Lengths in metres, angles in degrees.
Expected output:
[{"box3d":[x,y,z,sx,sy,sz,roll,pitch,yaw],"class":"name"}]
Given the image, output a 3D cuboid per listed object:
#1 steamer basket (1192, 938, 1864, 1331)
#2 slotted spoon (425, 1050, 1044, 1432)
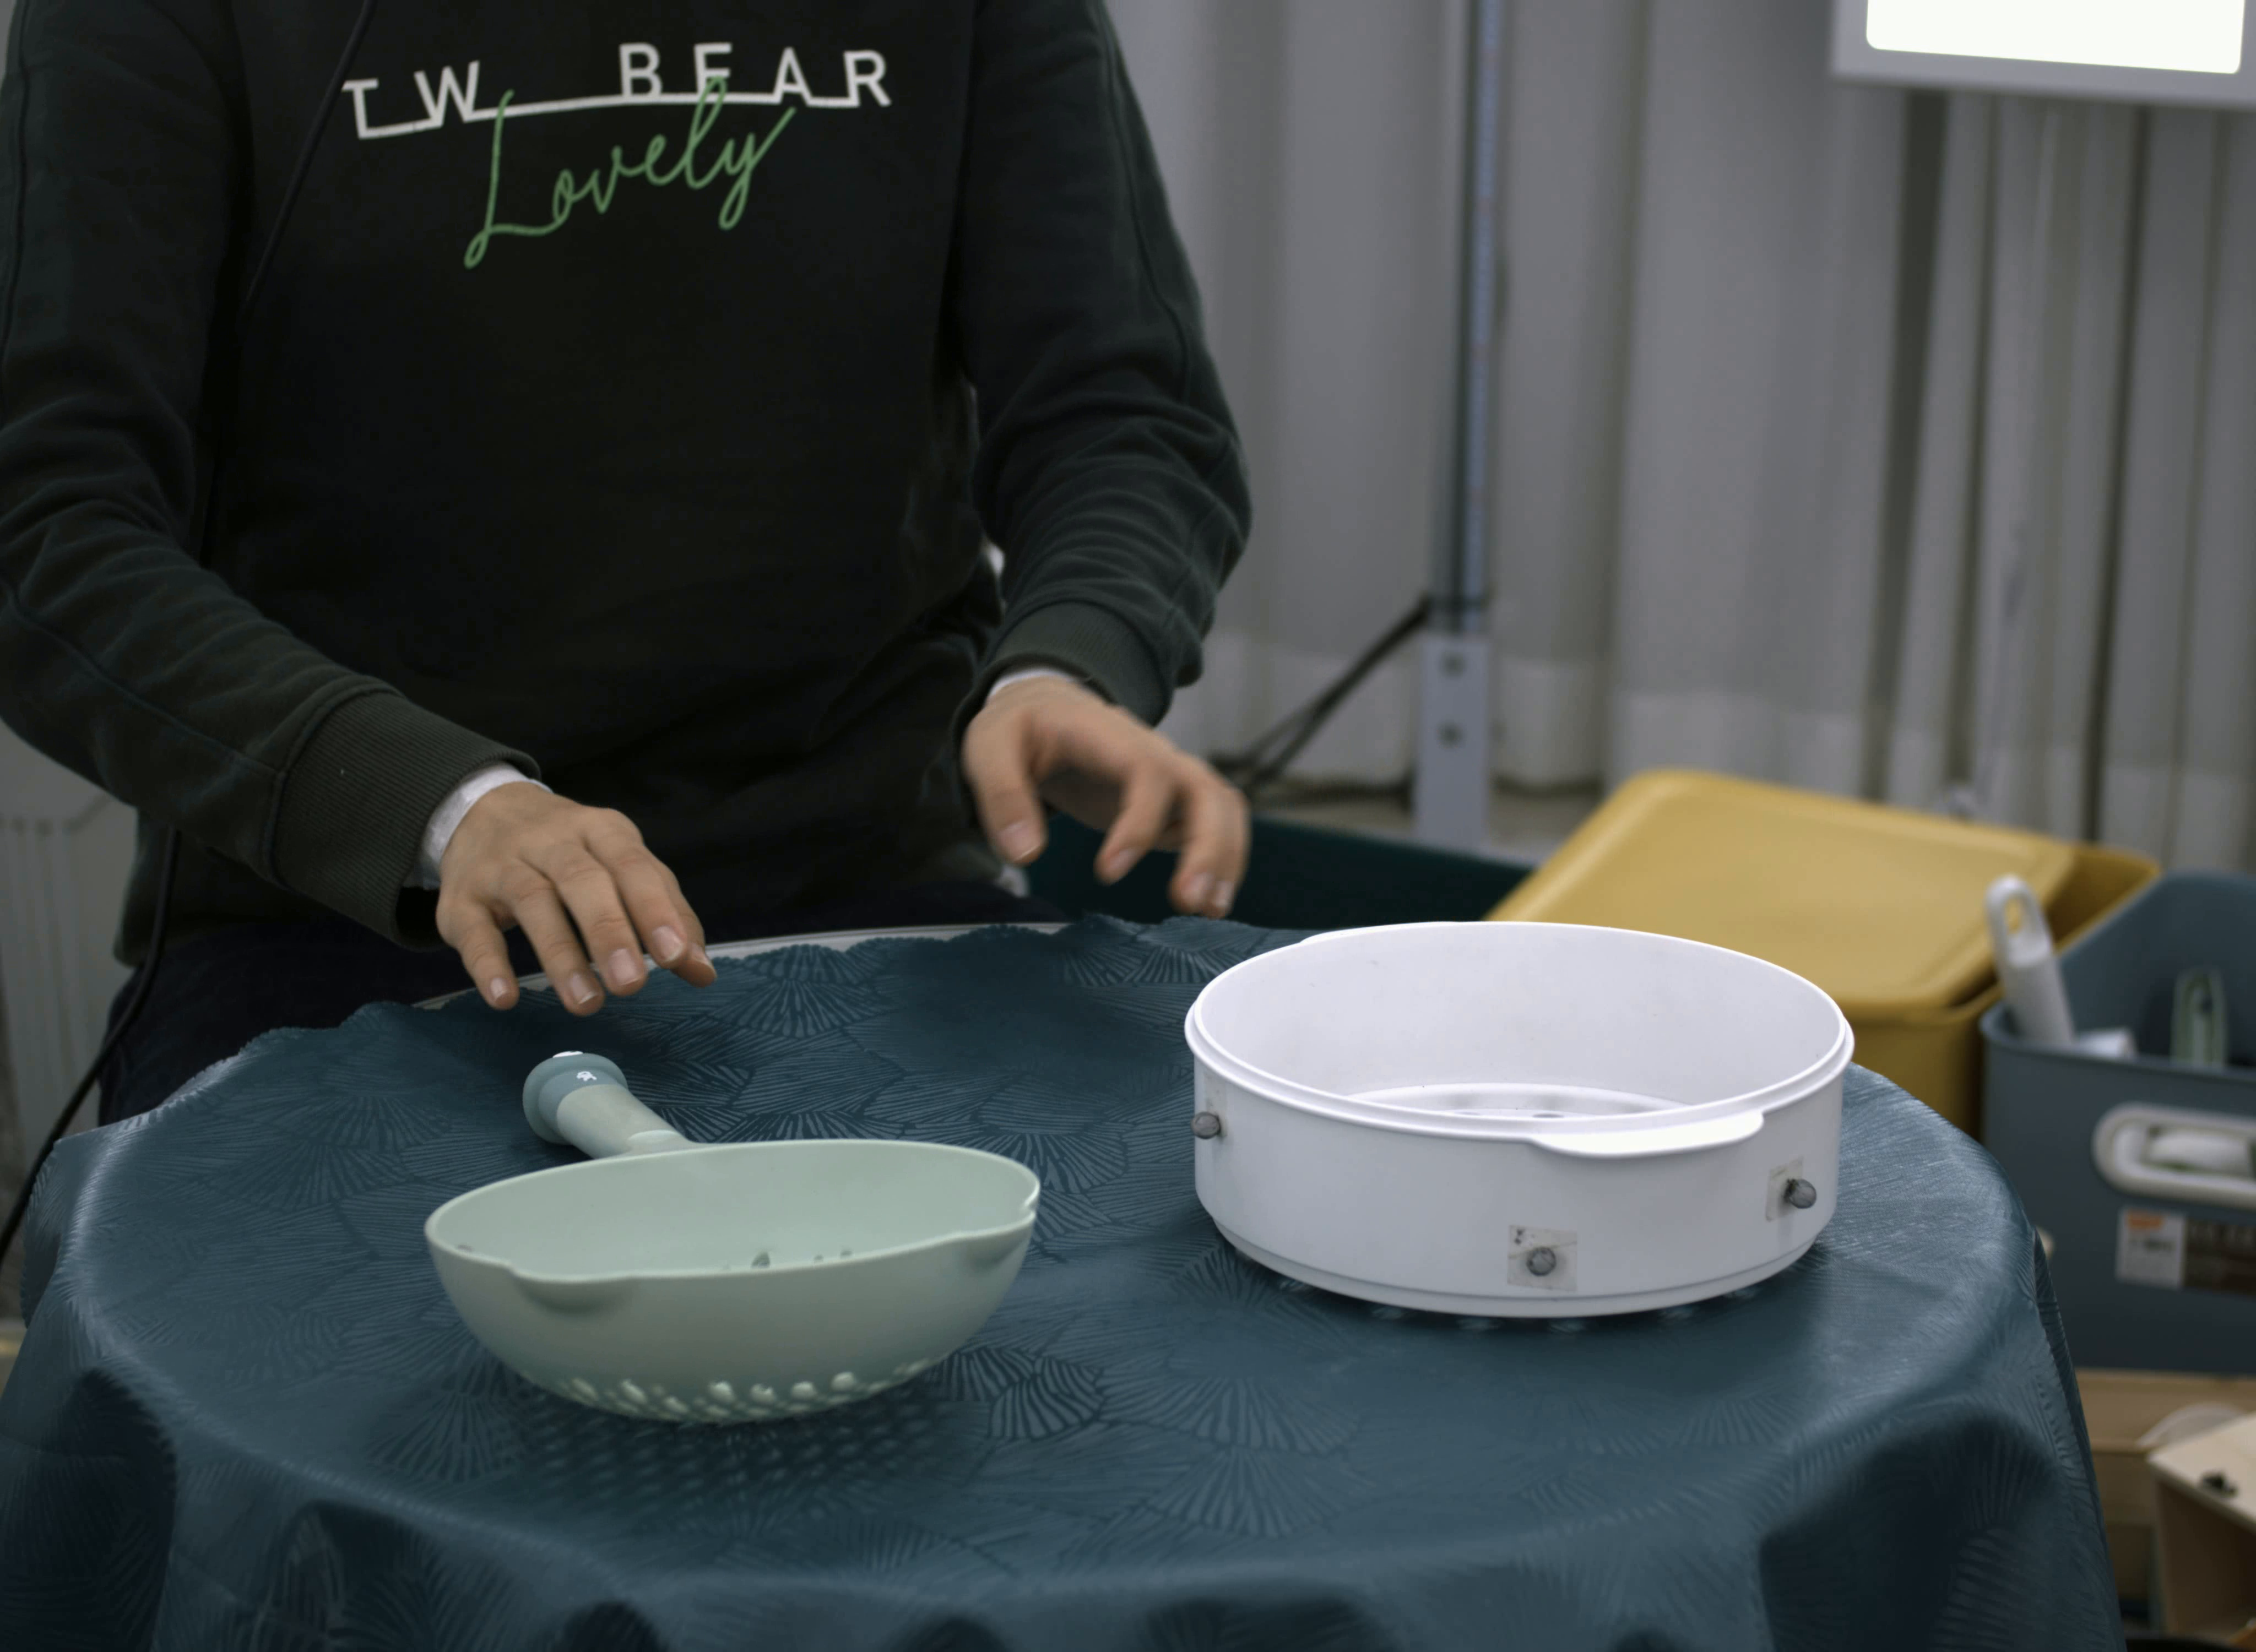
[{"box3d":[0.119,0.092,1.587,0.202,0.070,0.228,-4,16,-20],"class":"steamer basket"},{"box3d":[-0.134,0.104,1.532,0.169,0.076,0.355,-5,17,-16],"class":"slotted spoon"}]
